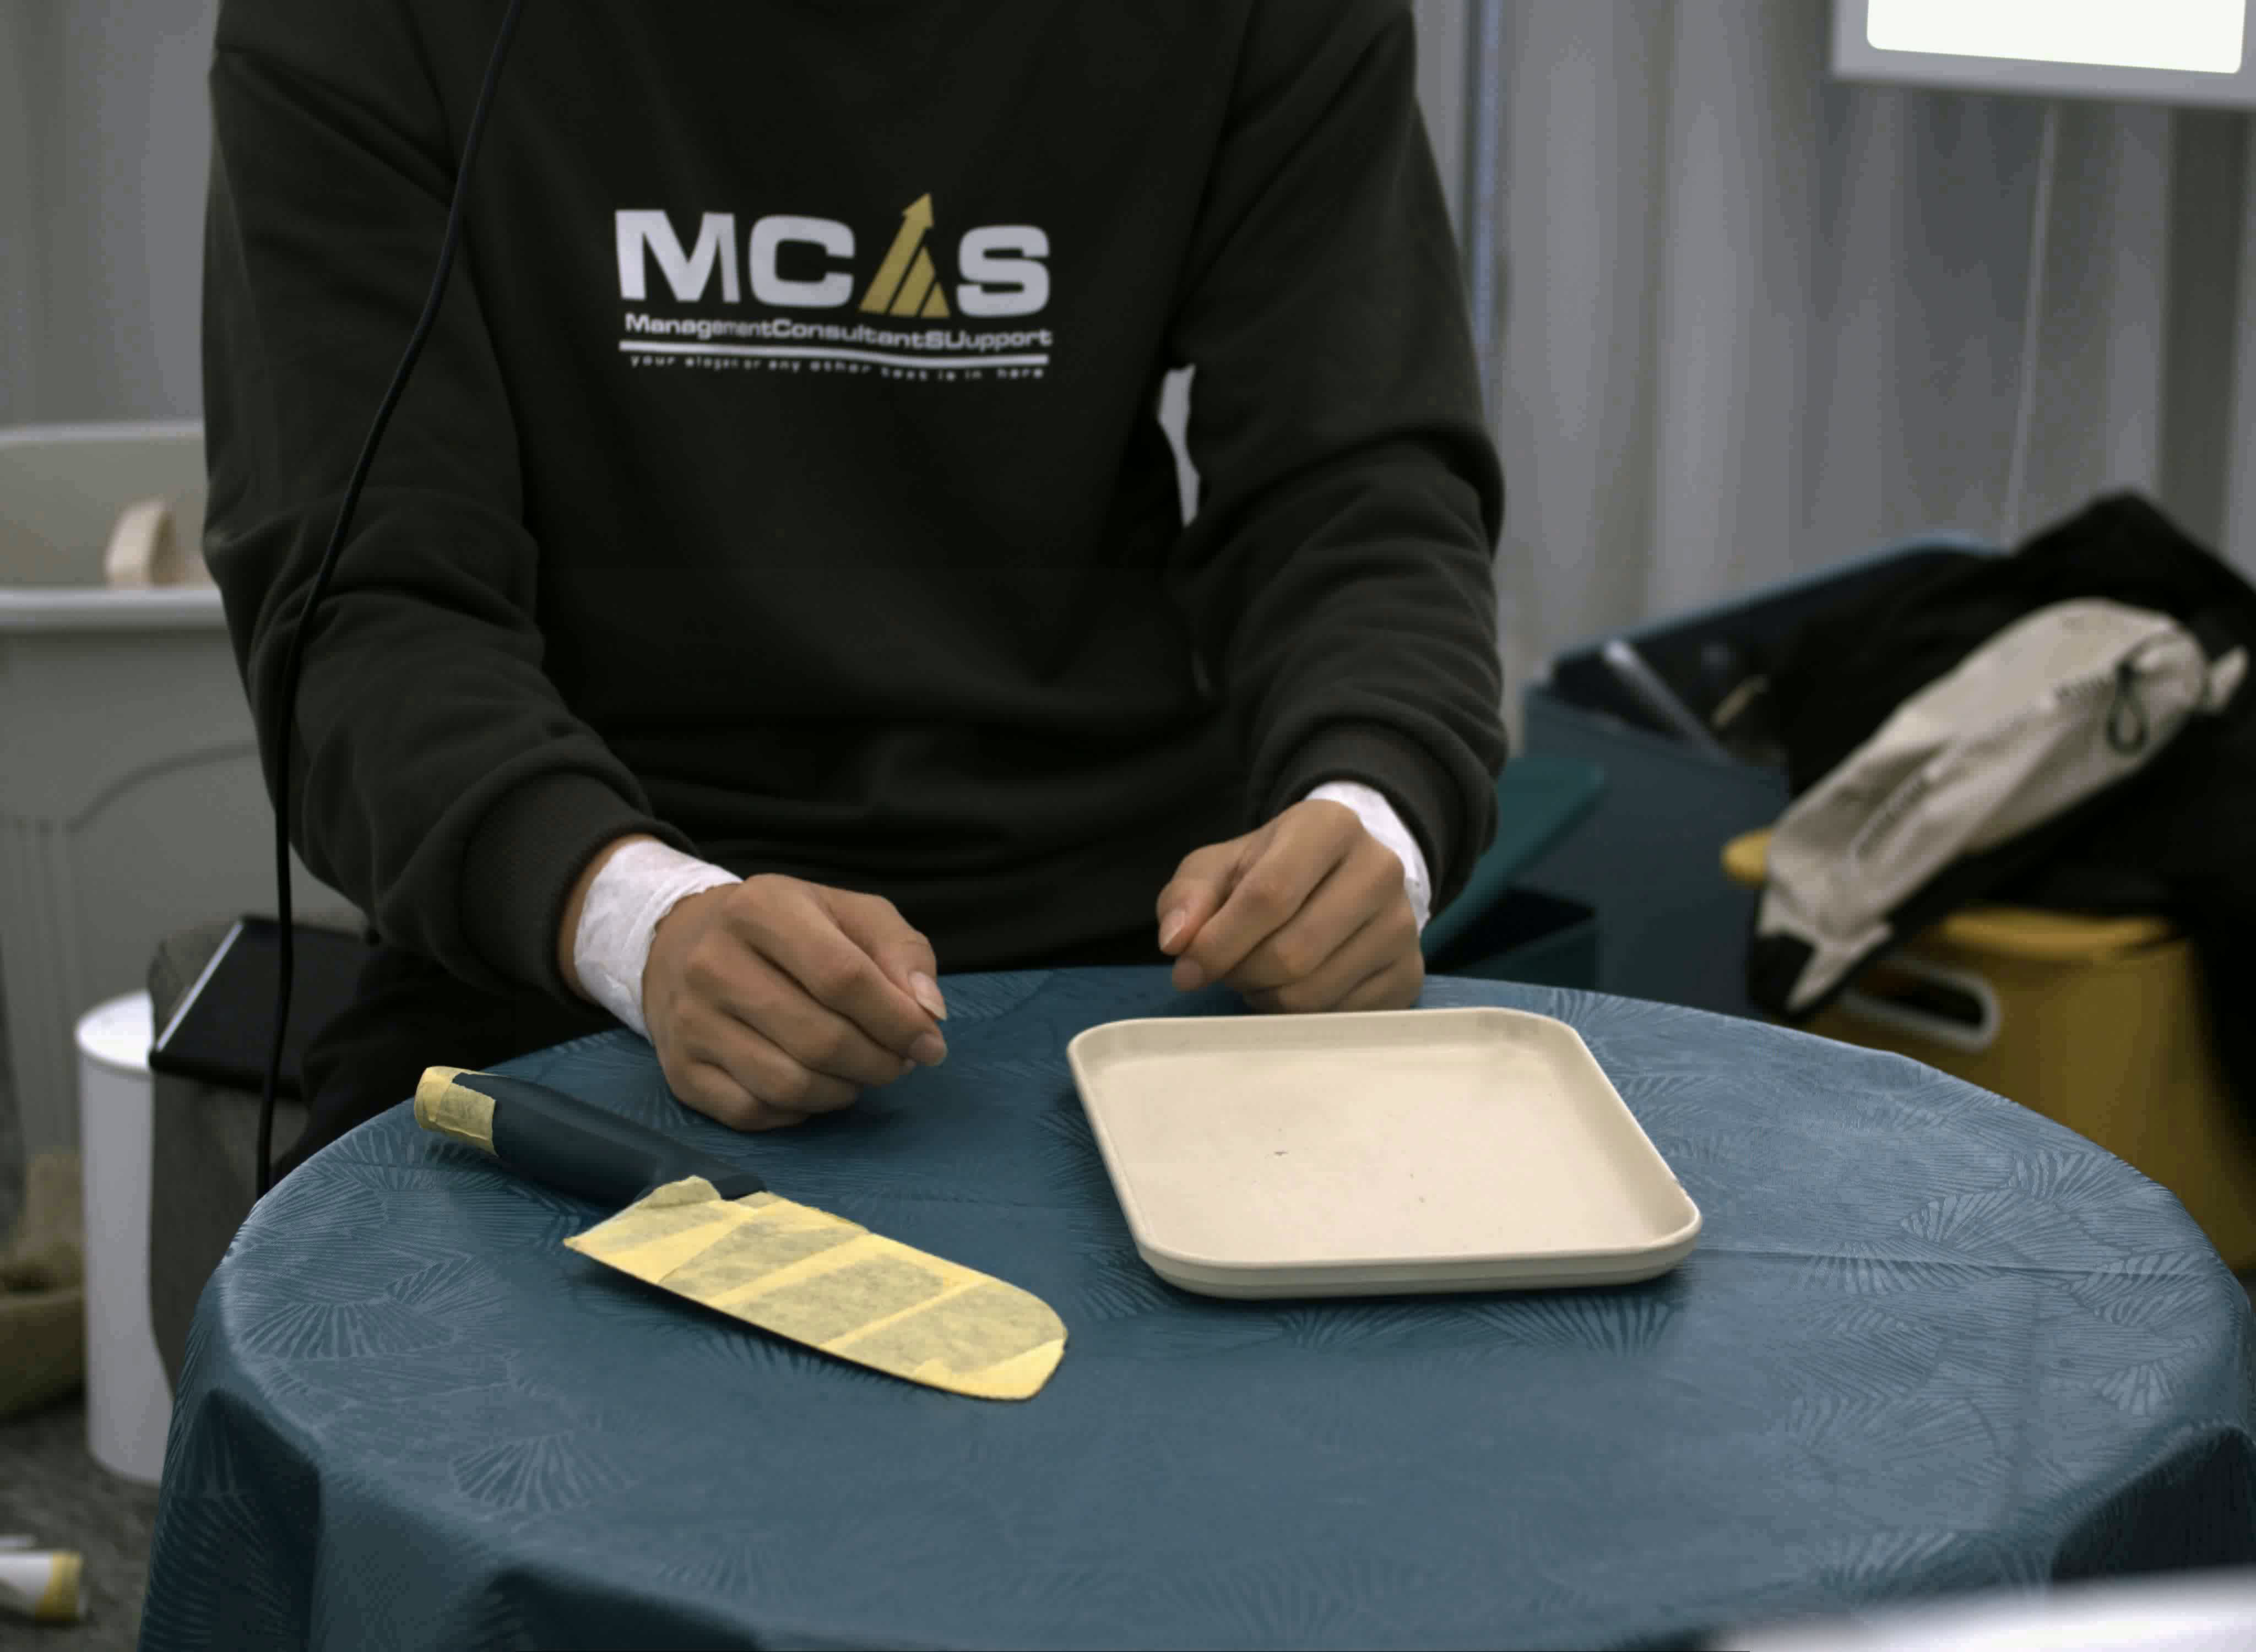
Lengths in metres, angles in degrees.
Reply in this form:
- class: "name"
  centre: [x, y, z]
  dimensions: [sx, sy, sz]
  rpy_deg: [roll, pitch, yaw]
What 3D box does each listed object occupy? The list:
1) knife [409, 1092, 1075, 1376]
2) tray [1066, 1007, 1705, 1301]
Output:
- class: "knife"
  centre: [-0.124, 0.122, 1.557]
  dimensions: [0.285, 0.027, 0.081]
  rpy_deg: [16, 20, 41]
- class: "tray"
  centre: [0.075, 0.100, 1.638]
  dimensions: [0.171, 0.017, 0.238]
  rpy_deg: [-2, 15, -7]
